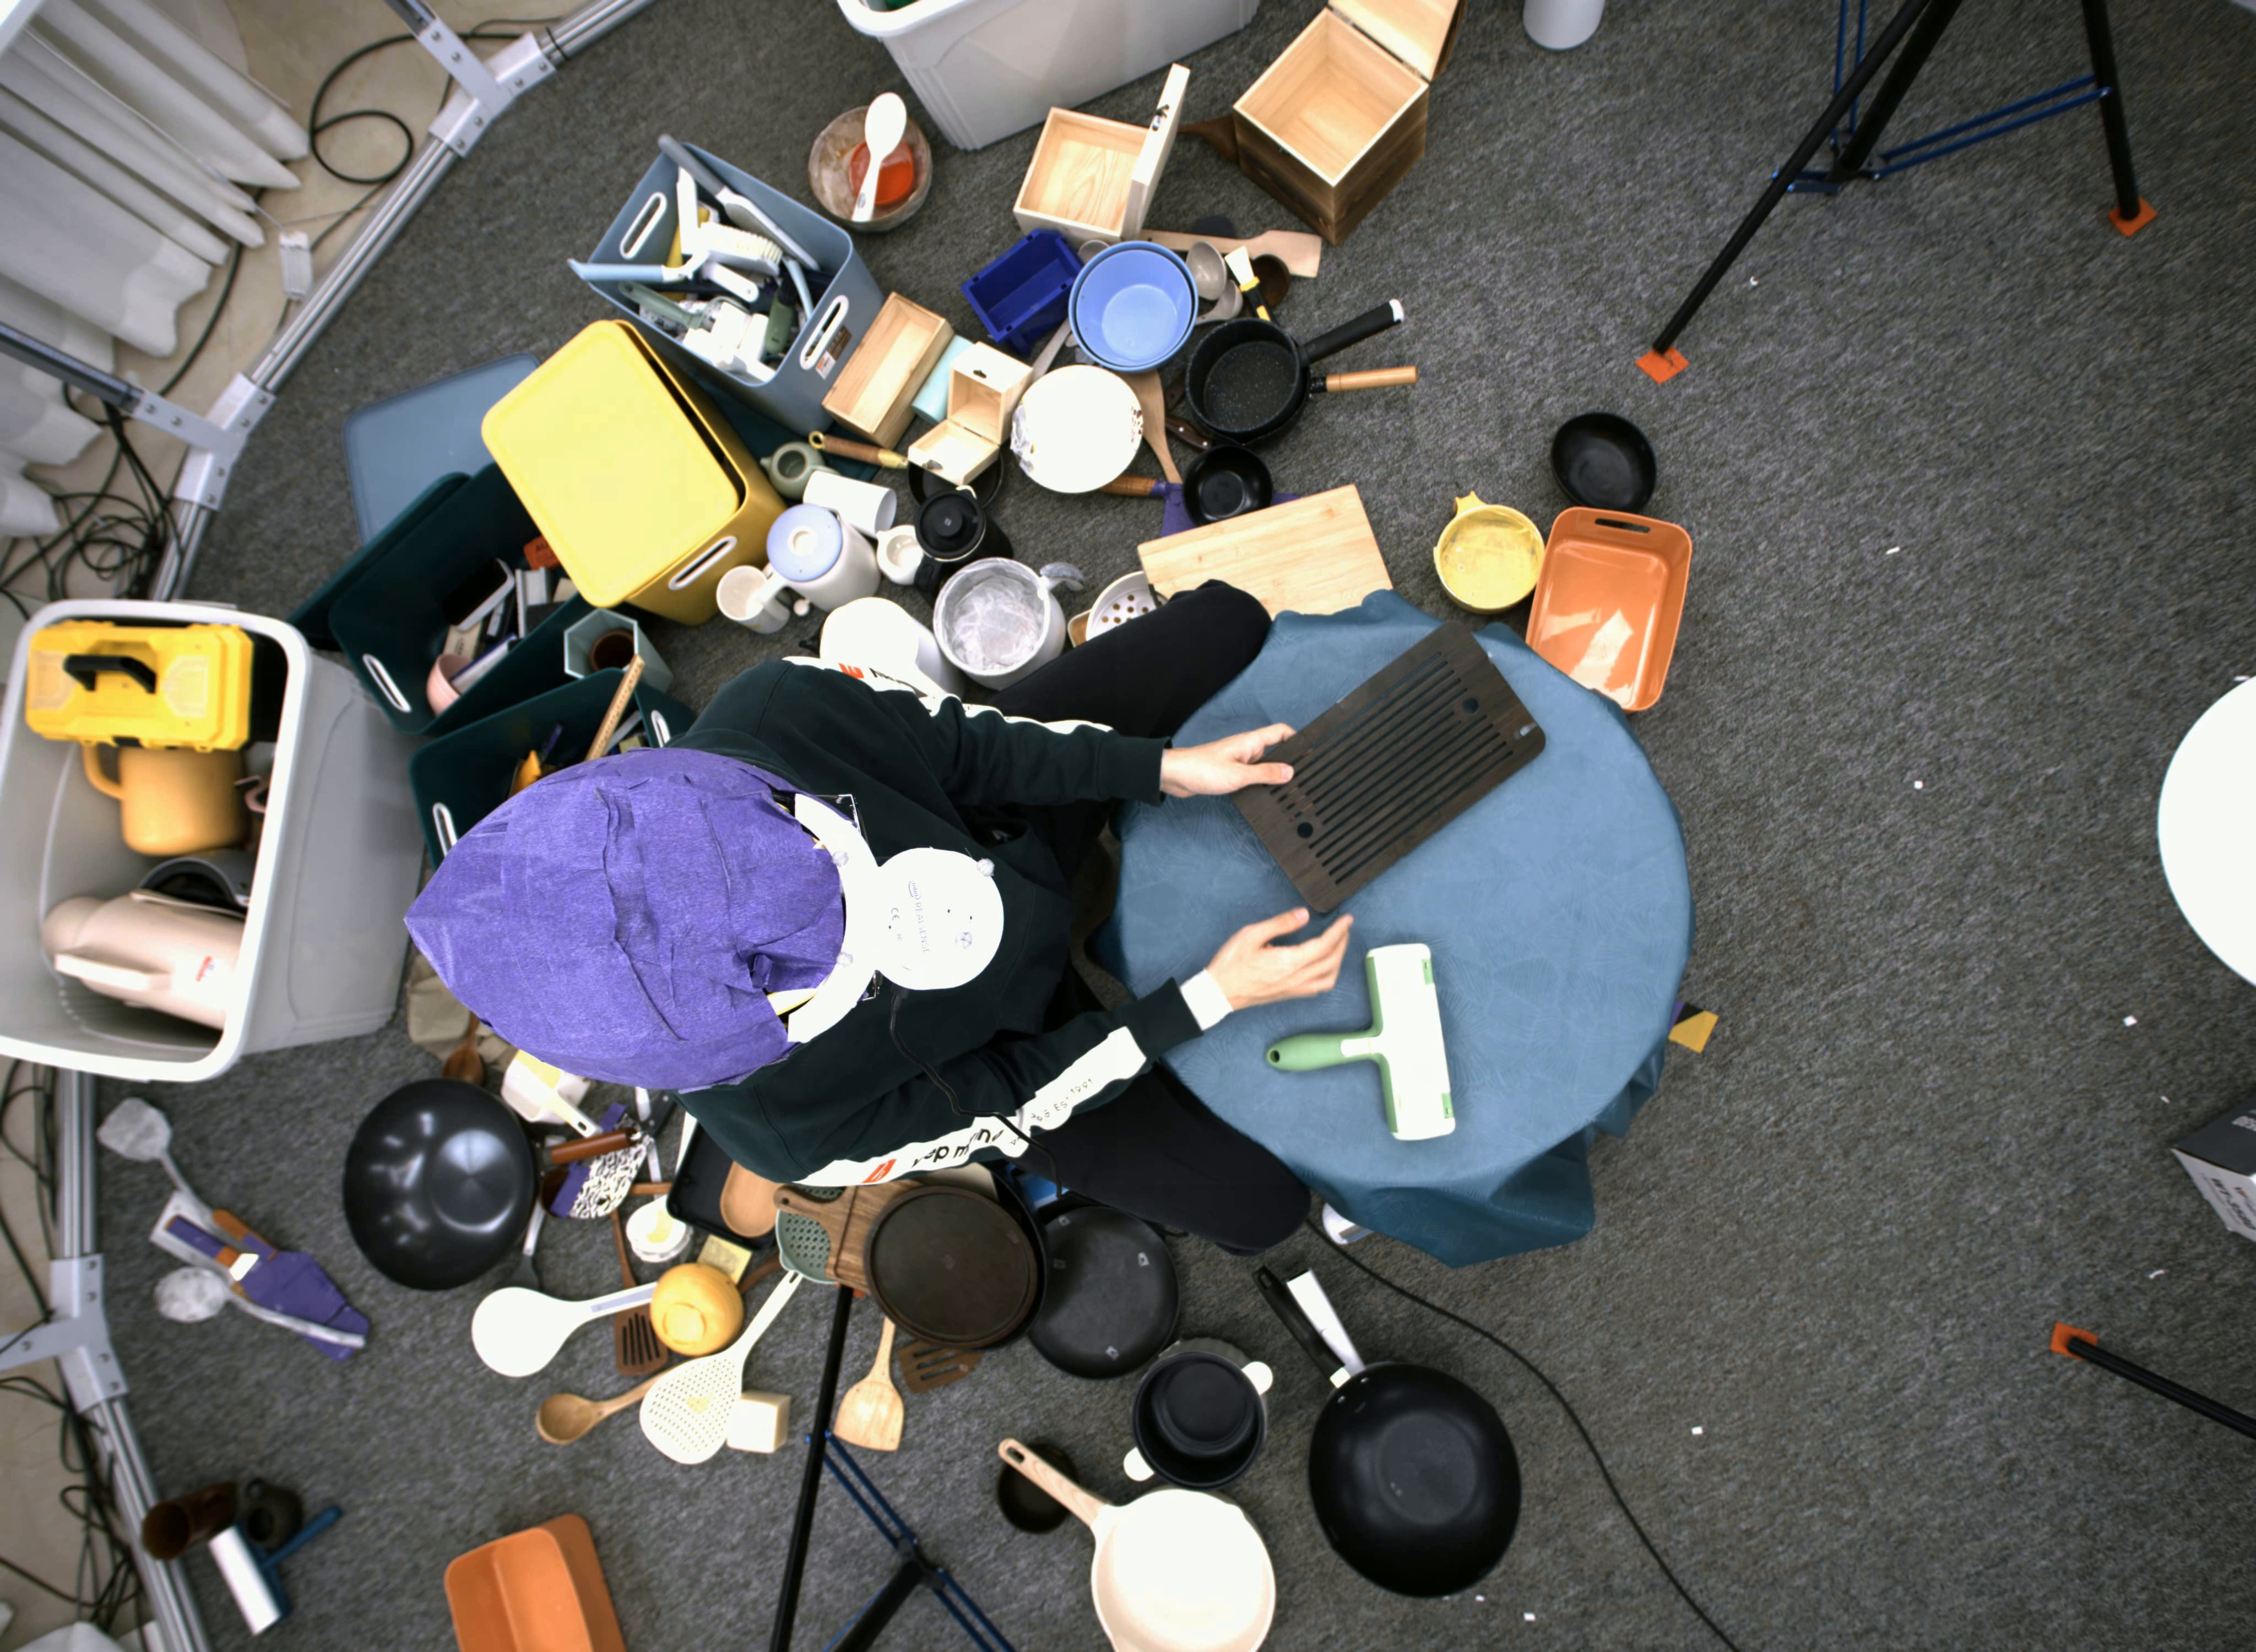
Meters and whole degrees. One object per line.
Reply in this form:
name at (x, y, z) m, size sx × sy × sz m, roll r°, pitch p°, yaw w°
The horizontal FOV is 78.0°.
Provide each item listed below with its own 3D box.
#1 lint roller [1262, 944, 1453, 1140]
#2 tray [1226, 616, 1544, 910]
lint roller at (0.228, 0.225, 1.415) m, size 0.184 × 0.082 × 0.197 m, roll -8°, pitch 86°, yaw 6°
tray at (0.267, -0.067, 1.431) m, size 0.307 × 0.018 × 0.170 m, roll -37°, pitch 95°, yaw 4°
